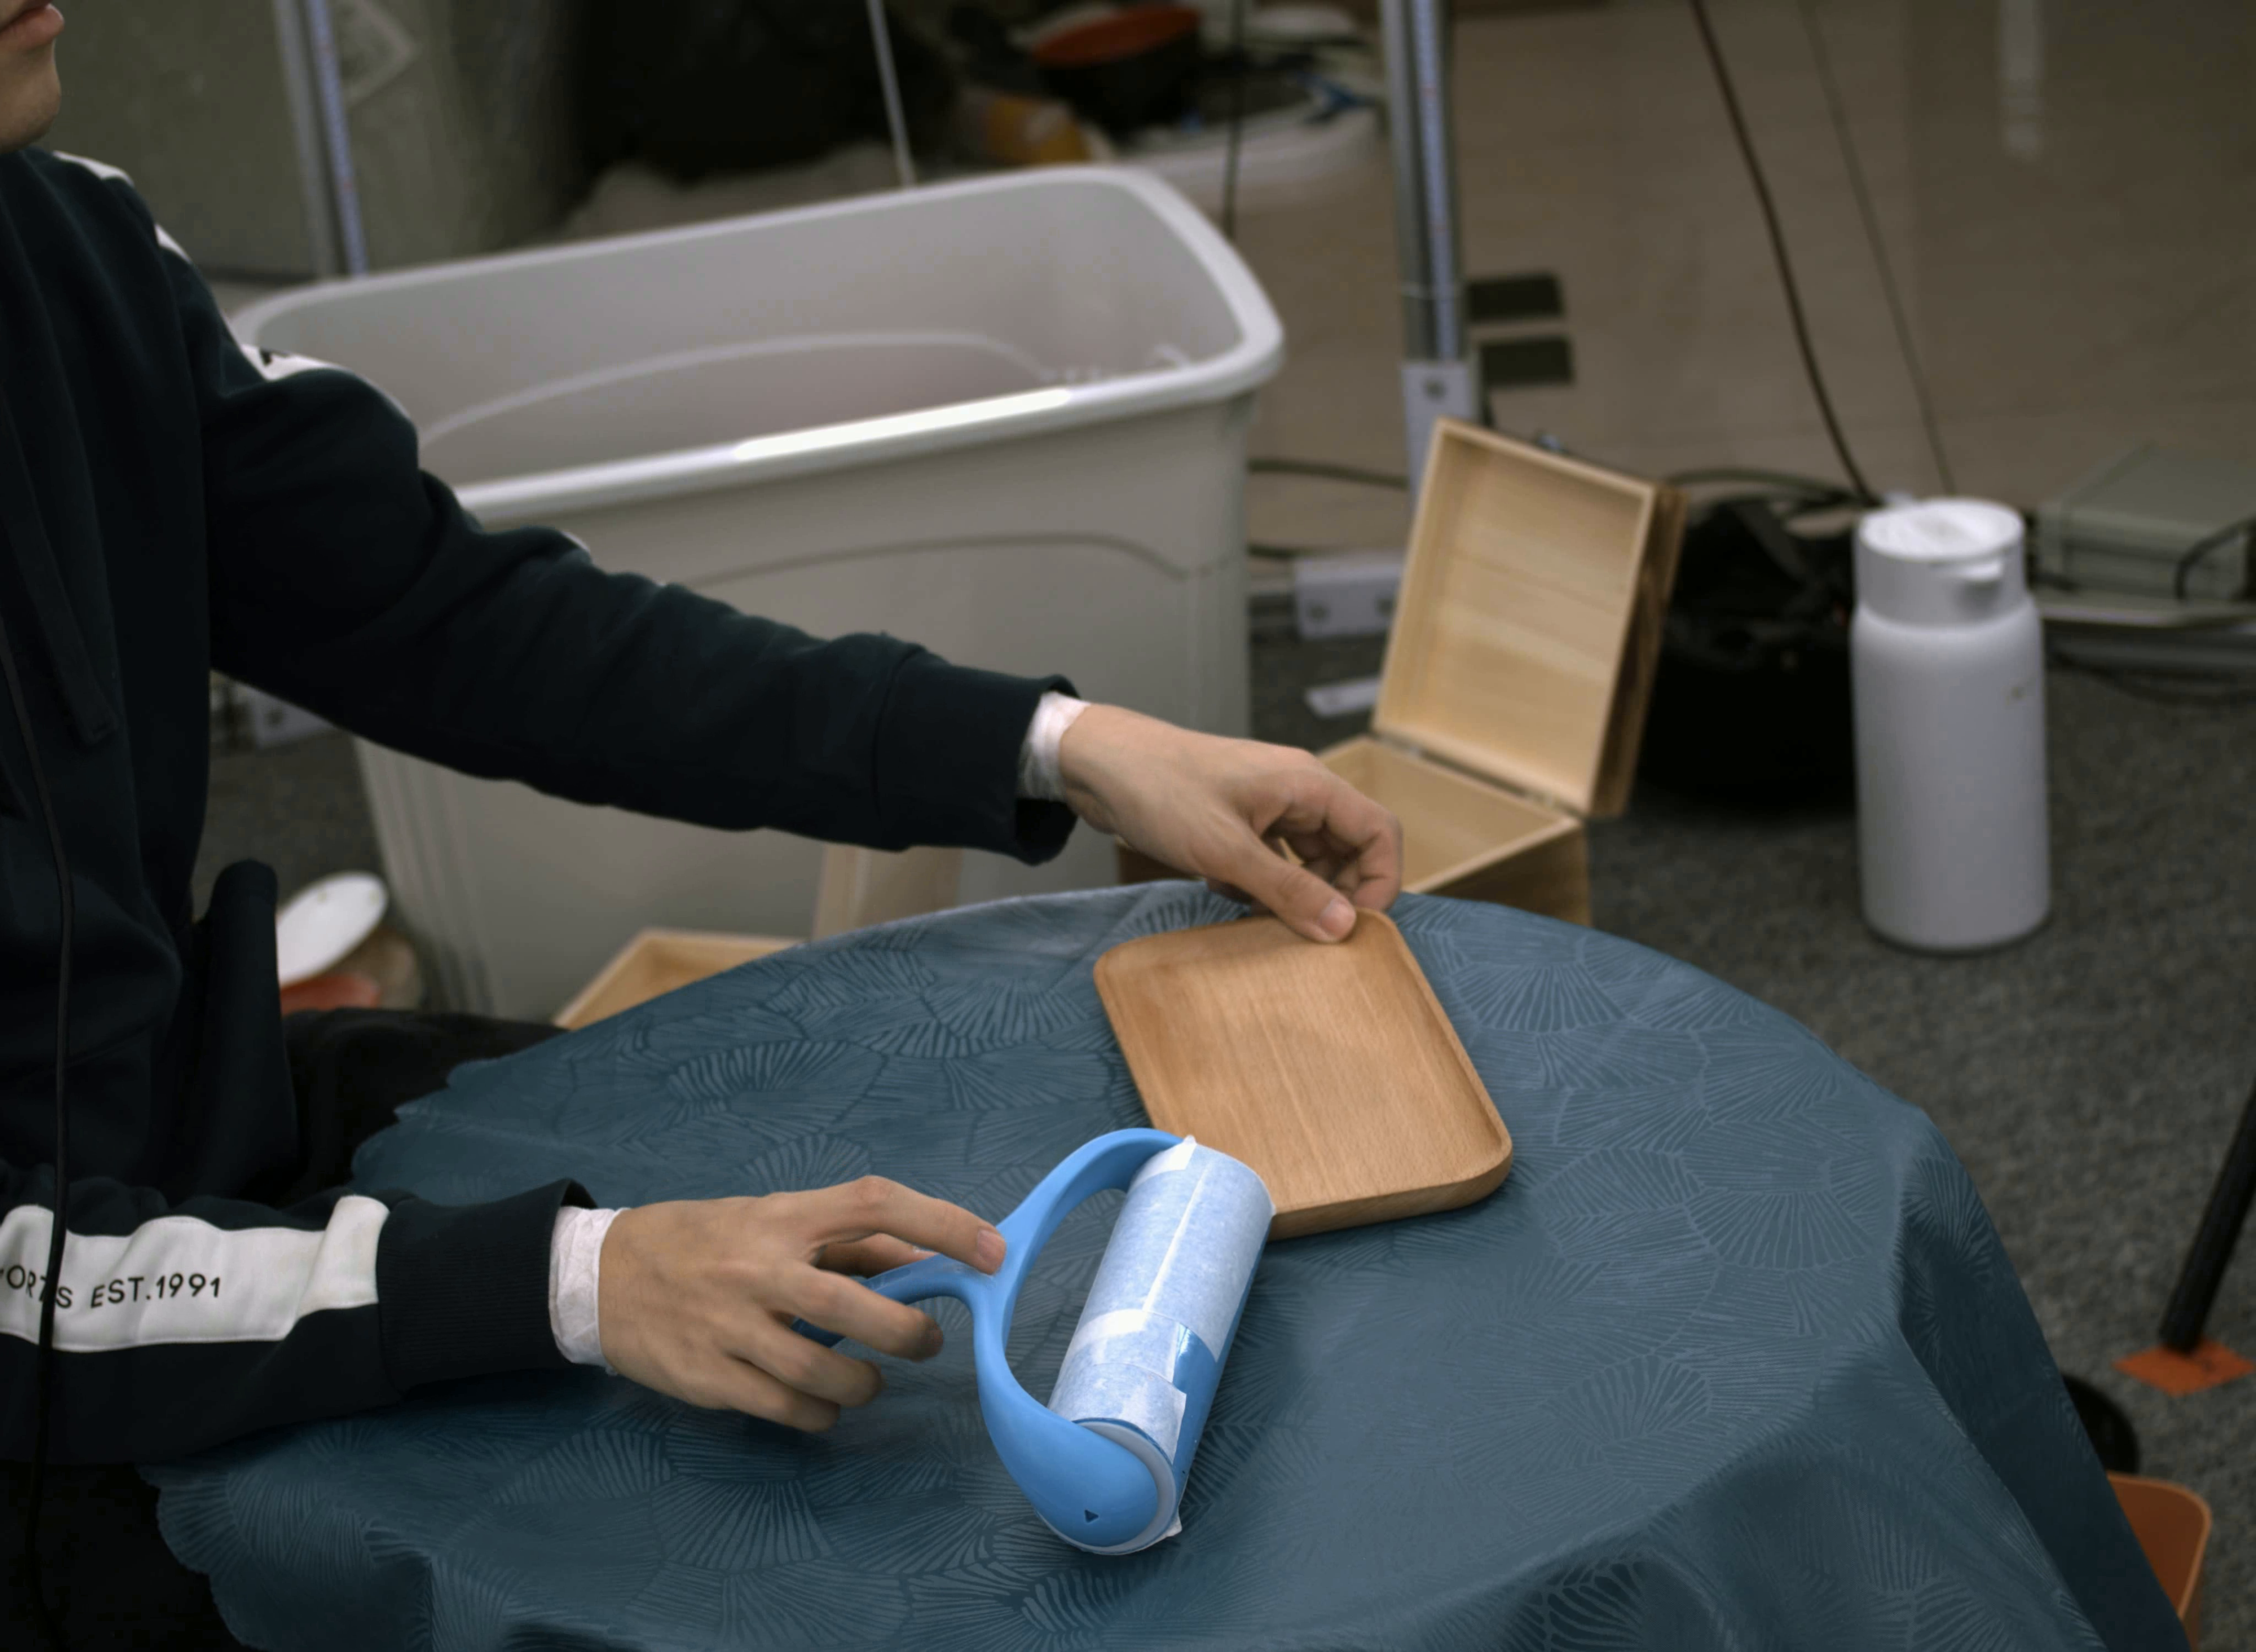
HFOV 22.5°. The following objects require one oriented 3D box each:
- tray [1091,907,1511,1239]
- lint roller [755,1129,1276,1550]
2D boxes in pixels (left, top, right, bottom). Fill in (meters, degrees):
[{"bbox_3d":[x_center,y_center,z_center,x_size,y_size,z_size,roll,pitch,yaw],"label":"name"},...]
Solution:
[{"bbox_3d":[0.065,0.094,2.203,0.130,0.023,0.247,-12,26,-5],"label":"tray"},{"bbox_3d":[-0.048,0.180,1.999,0.180,0.069,0.225,-1,27,10],"label":"lint roller"}]
